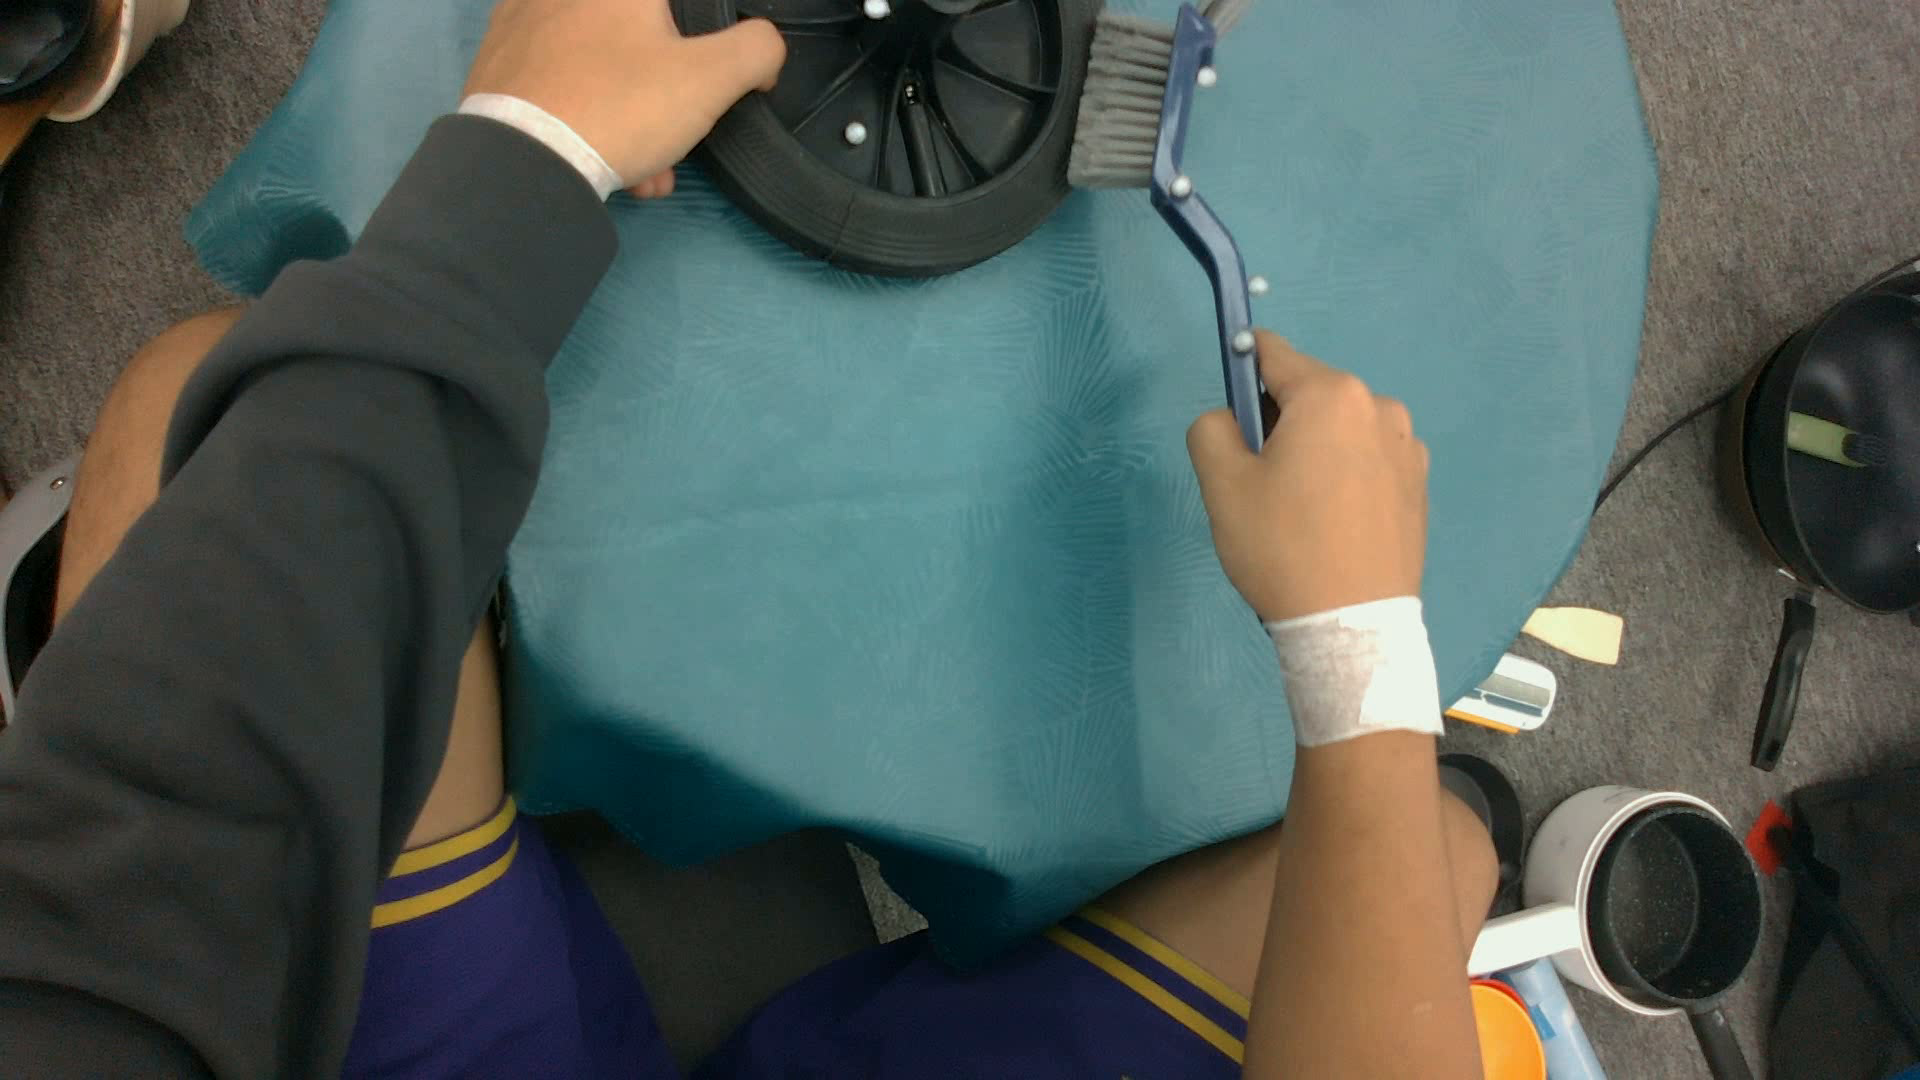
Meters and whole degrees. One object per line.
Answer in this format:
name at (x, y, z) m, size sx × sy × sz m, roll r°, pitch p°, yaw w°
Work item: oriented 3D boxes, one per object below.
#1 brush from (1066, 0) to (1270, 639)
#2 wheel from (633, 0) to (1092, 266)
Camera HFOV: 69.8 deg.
brush at (0.107, -0.101, 0.538) m, size 0.096 × 0.033 × 0.273 m, roll -15°, pitch 80°, yaw 1°
wheel at (-0.026, -0.205, 0.530) m, size 0.188 × 0.079 × 0.189 m, roll -41°, pitch 103°, yaw -19°
